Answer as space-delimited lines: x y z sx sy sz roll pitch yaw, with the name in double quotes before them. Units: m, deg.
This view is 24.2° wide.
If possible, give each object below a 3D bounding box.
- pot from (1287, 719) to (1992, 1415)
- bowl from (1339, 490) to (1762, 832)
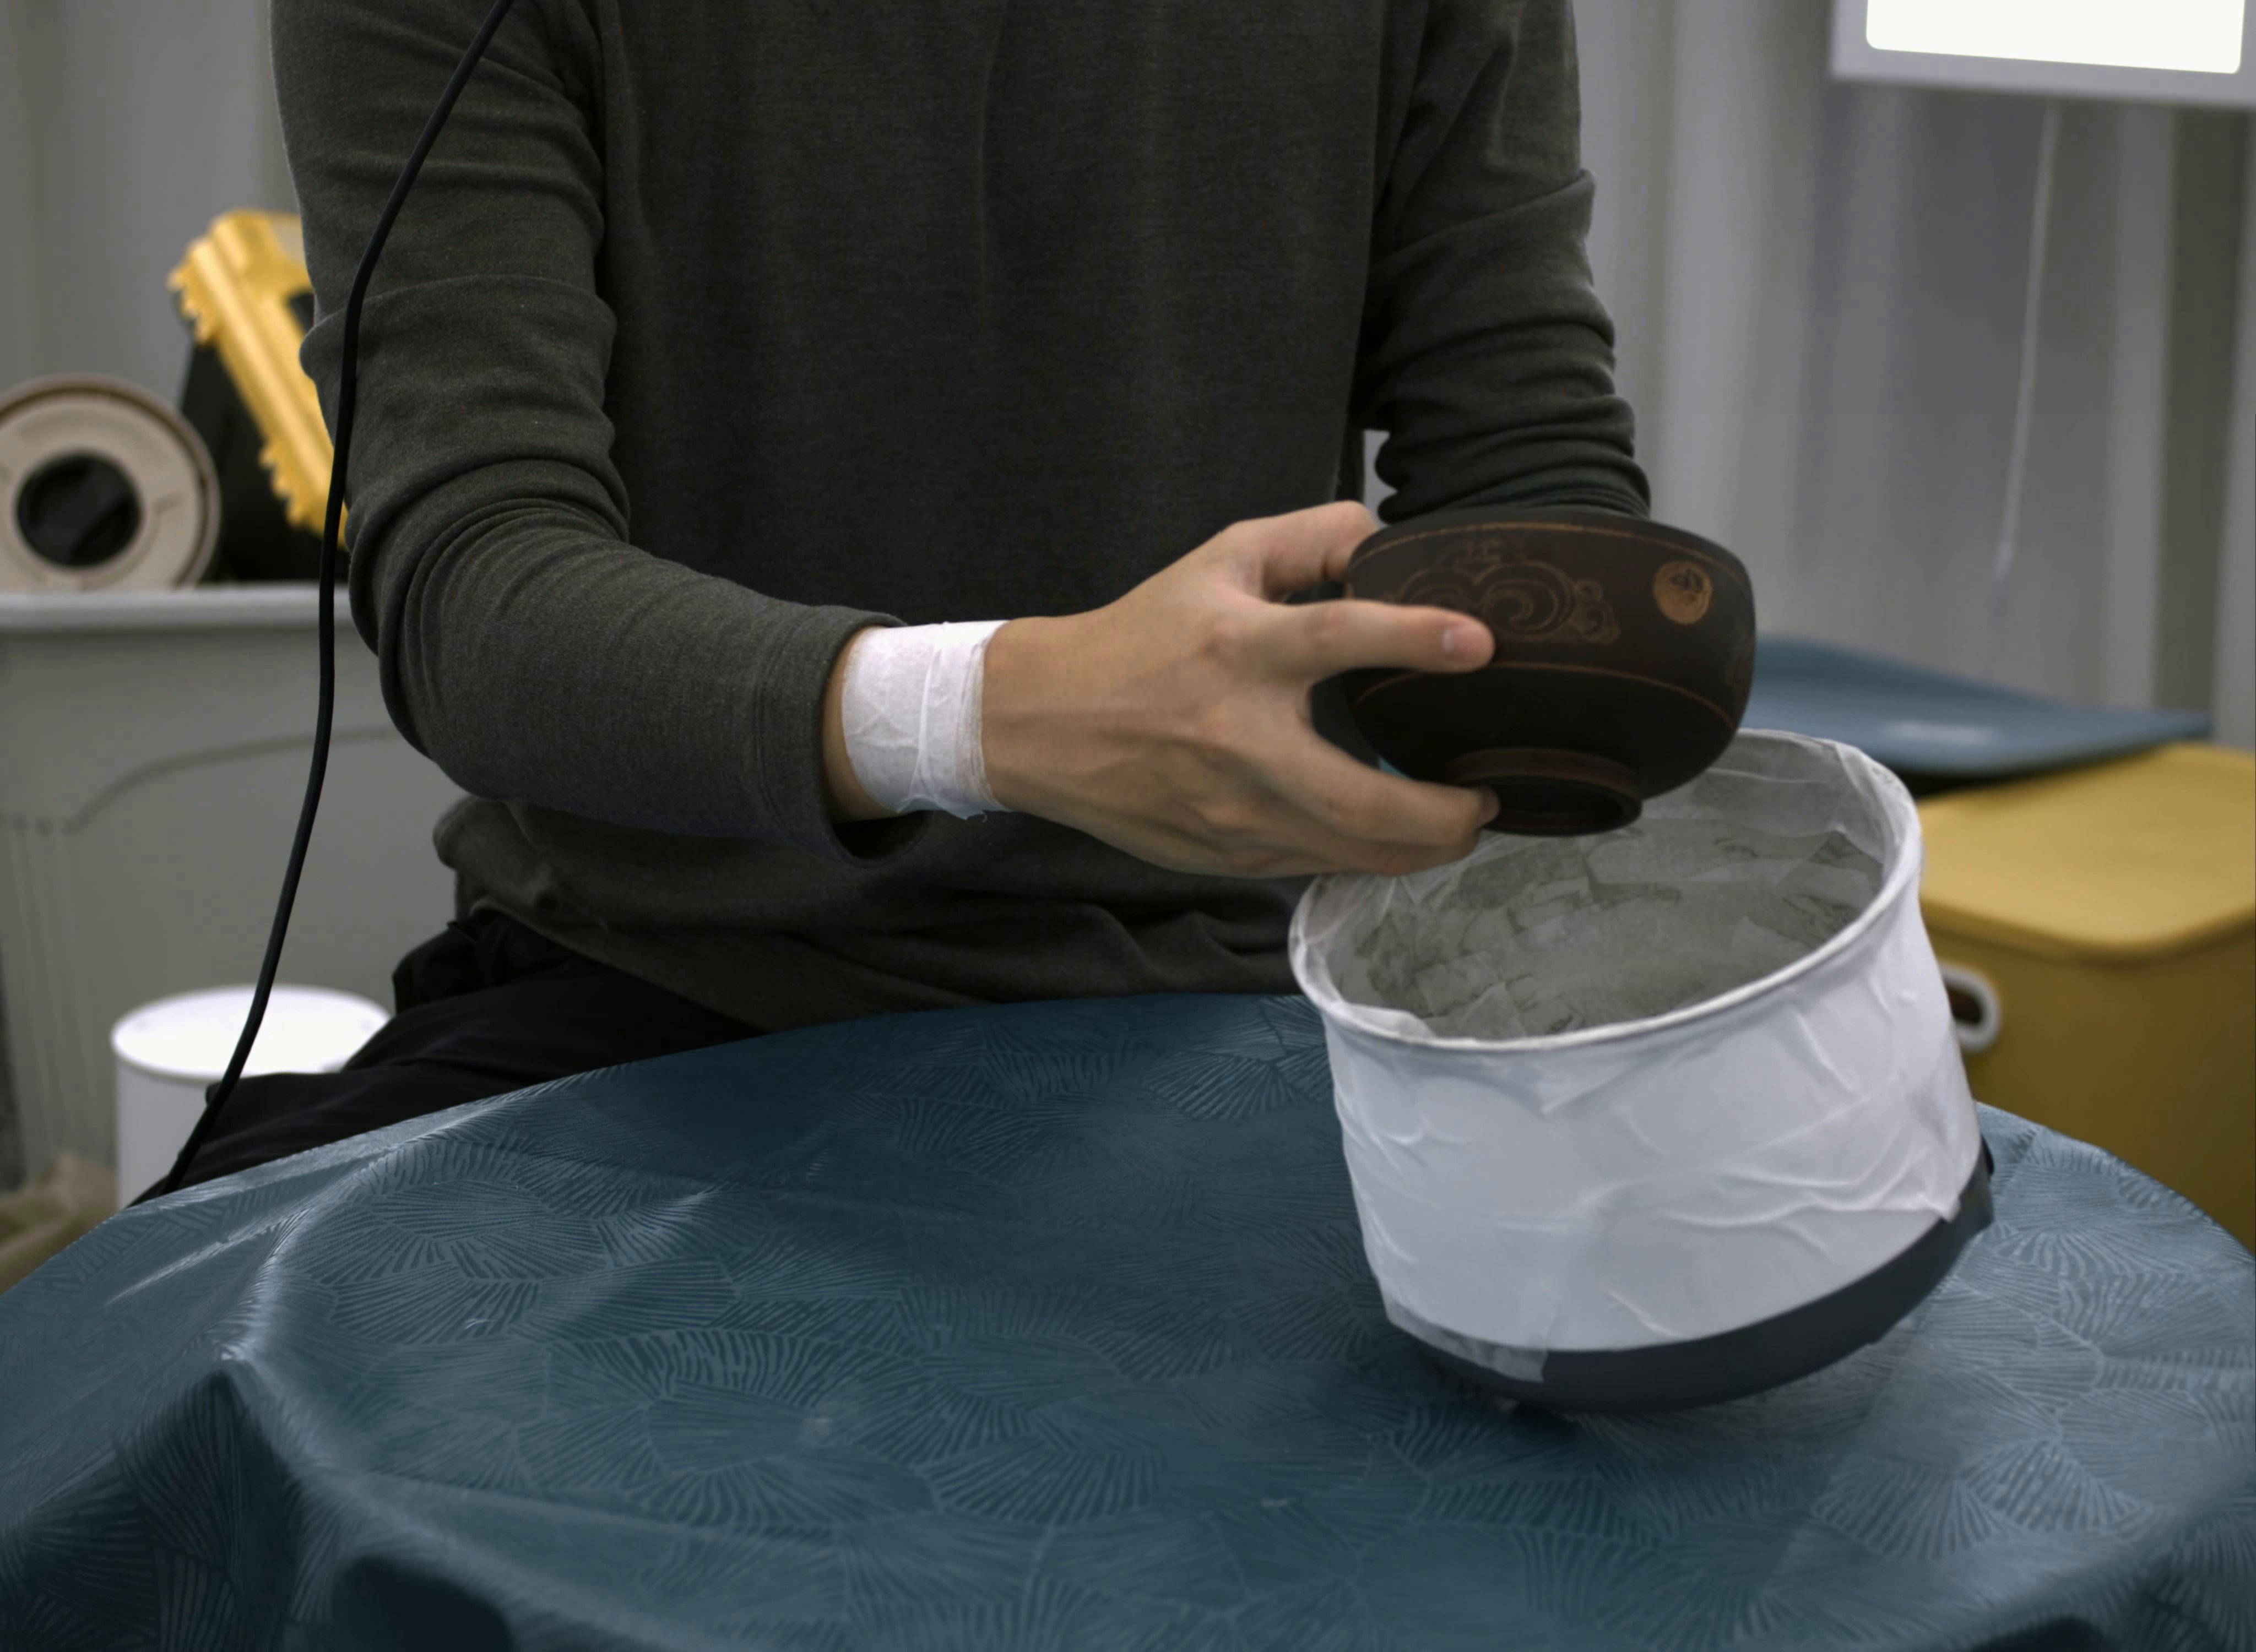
"pot" 0.141 0.056 1.487 0.178 0.138 0.231 -14 26 0
"bowl" 0.116 -0.040 1.452 0.117 0.069 0.119 3 -18 1
